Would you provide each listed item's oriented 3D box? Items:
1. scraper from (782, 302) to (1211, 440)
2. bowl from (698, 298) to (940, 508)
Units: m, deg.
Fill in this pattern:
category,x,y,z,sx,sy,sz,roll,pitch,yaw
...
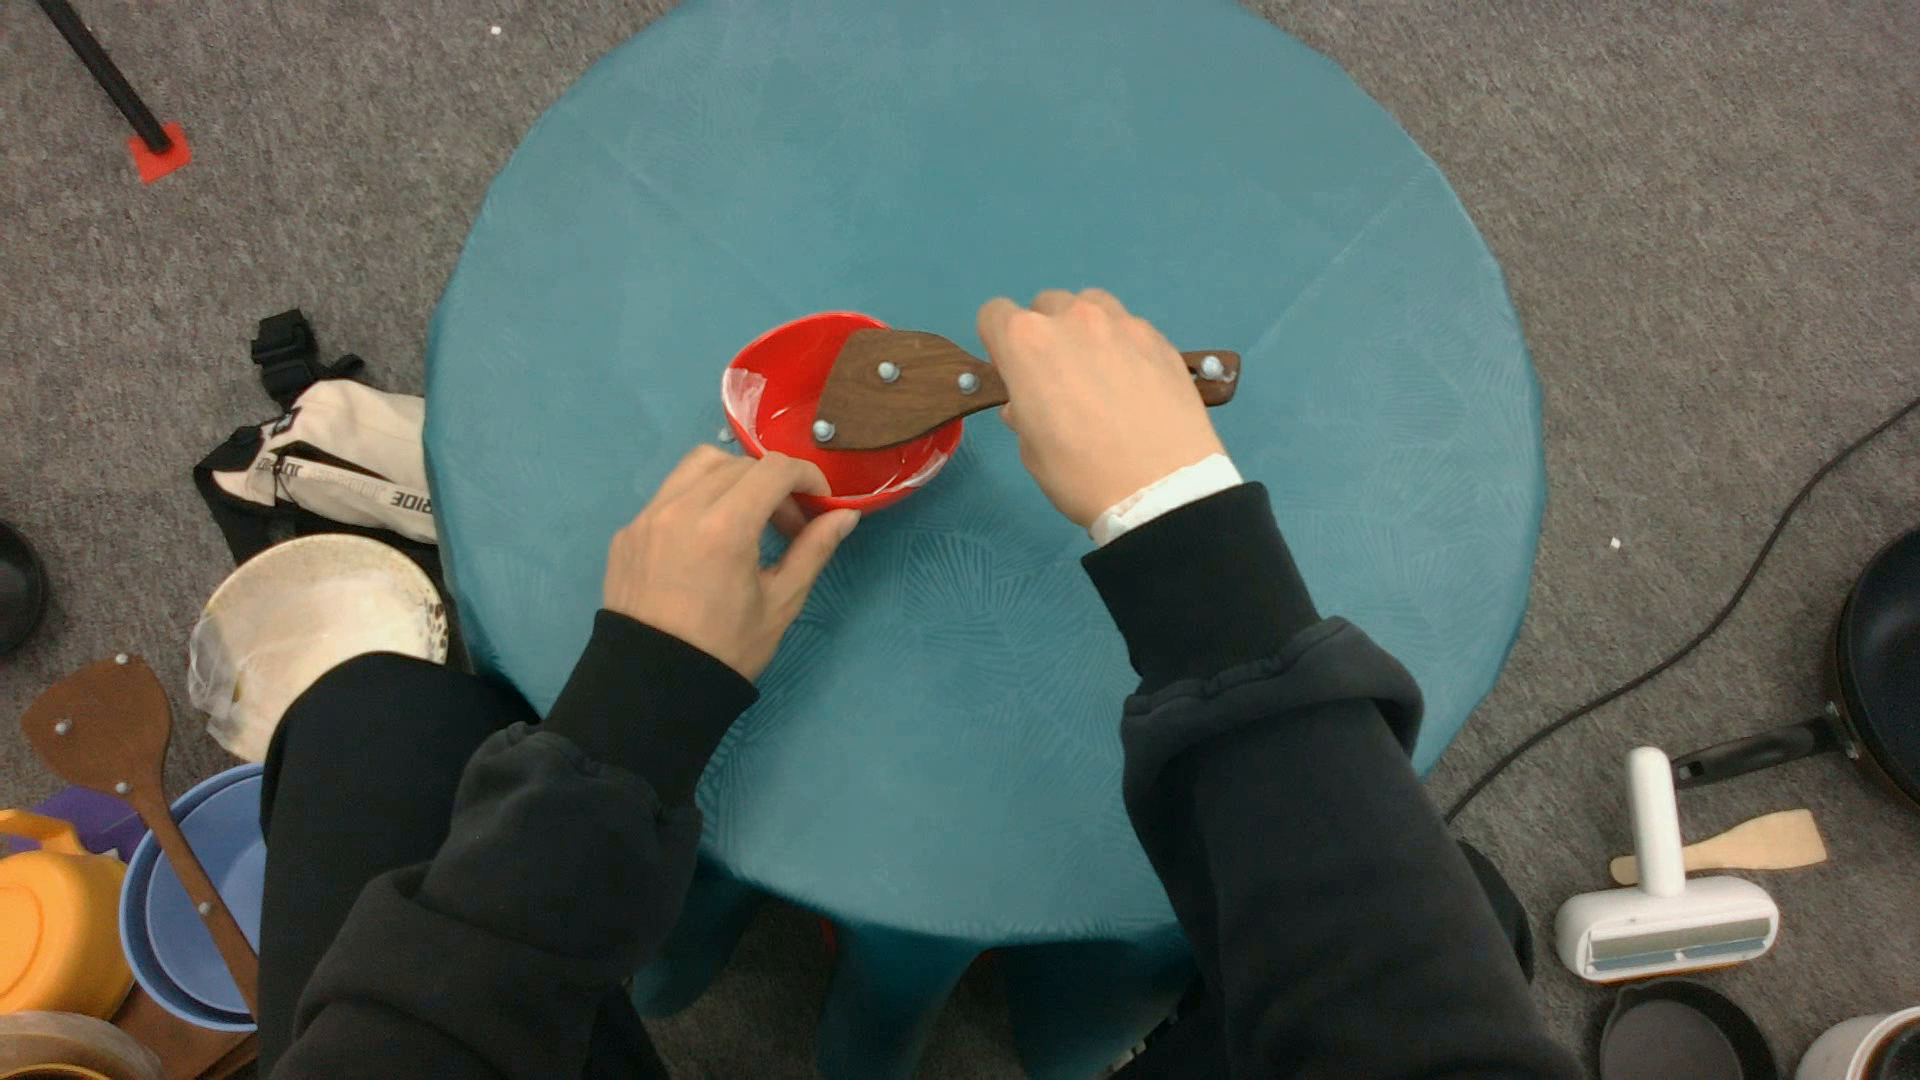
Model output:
category,x,y,z,sx,sy,sz,roll,pitch,yaw
scraper,0.012,-0.079,0.625,0.211,0.011,0.076,2,64,29
bowl,-0.073,-0.060,0.686,0.119,0.051,0.119,9,54,-13
